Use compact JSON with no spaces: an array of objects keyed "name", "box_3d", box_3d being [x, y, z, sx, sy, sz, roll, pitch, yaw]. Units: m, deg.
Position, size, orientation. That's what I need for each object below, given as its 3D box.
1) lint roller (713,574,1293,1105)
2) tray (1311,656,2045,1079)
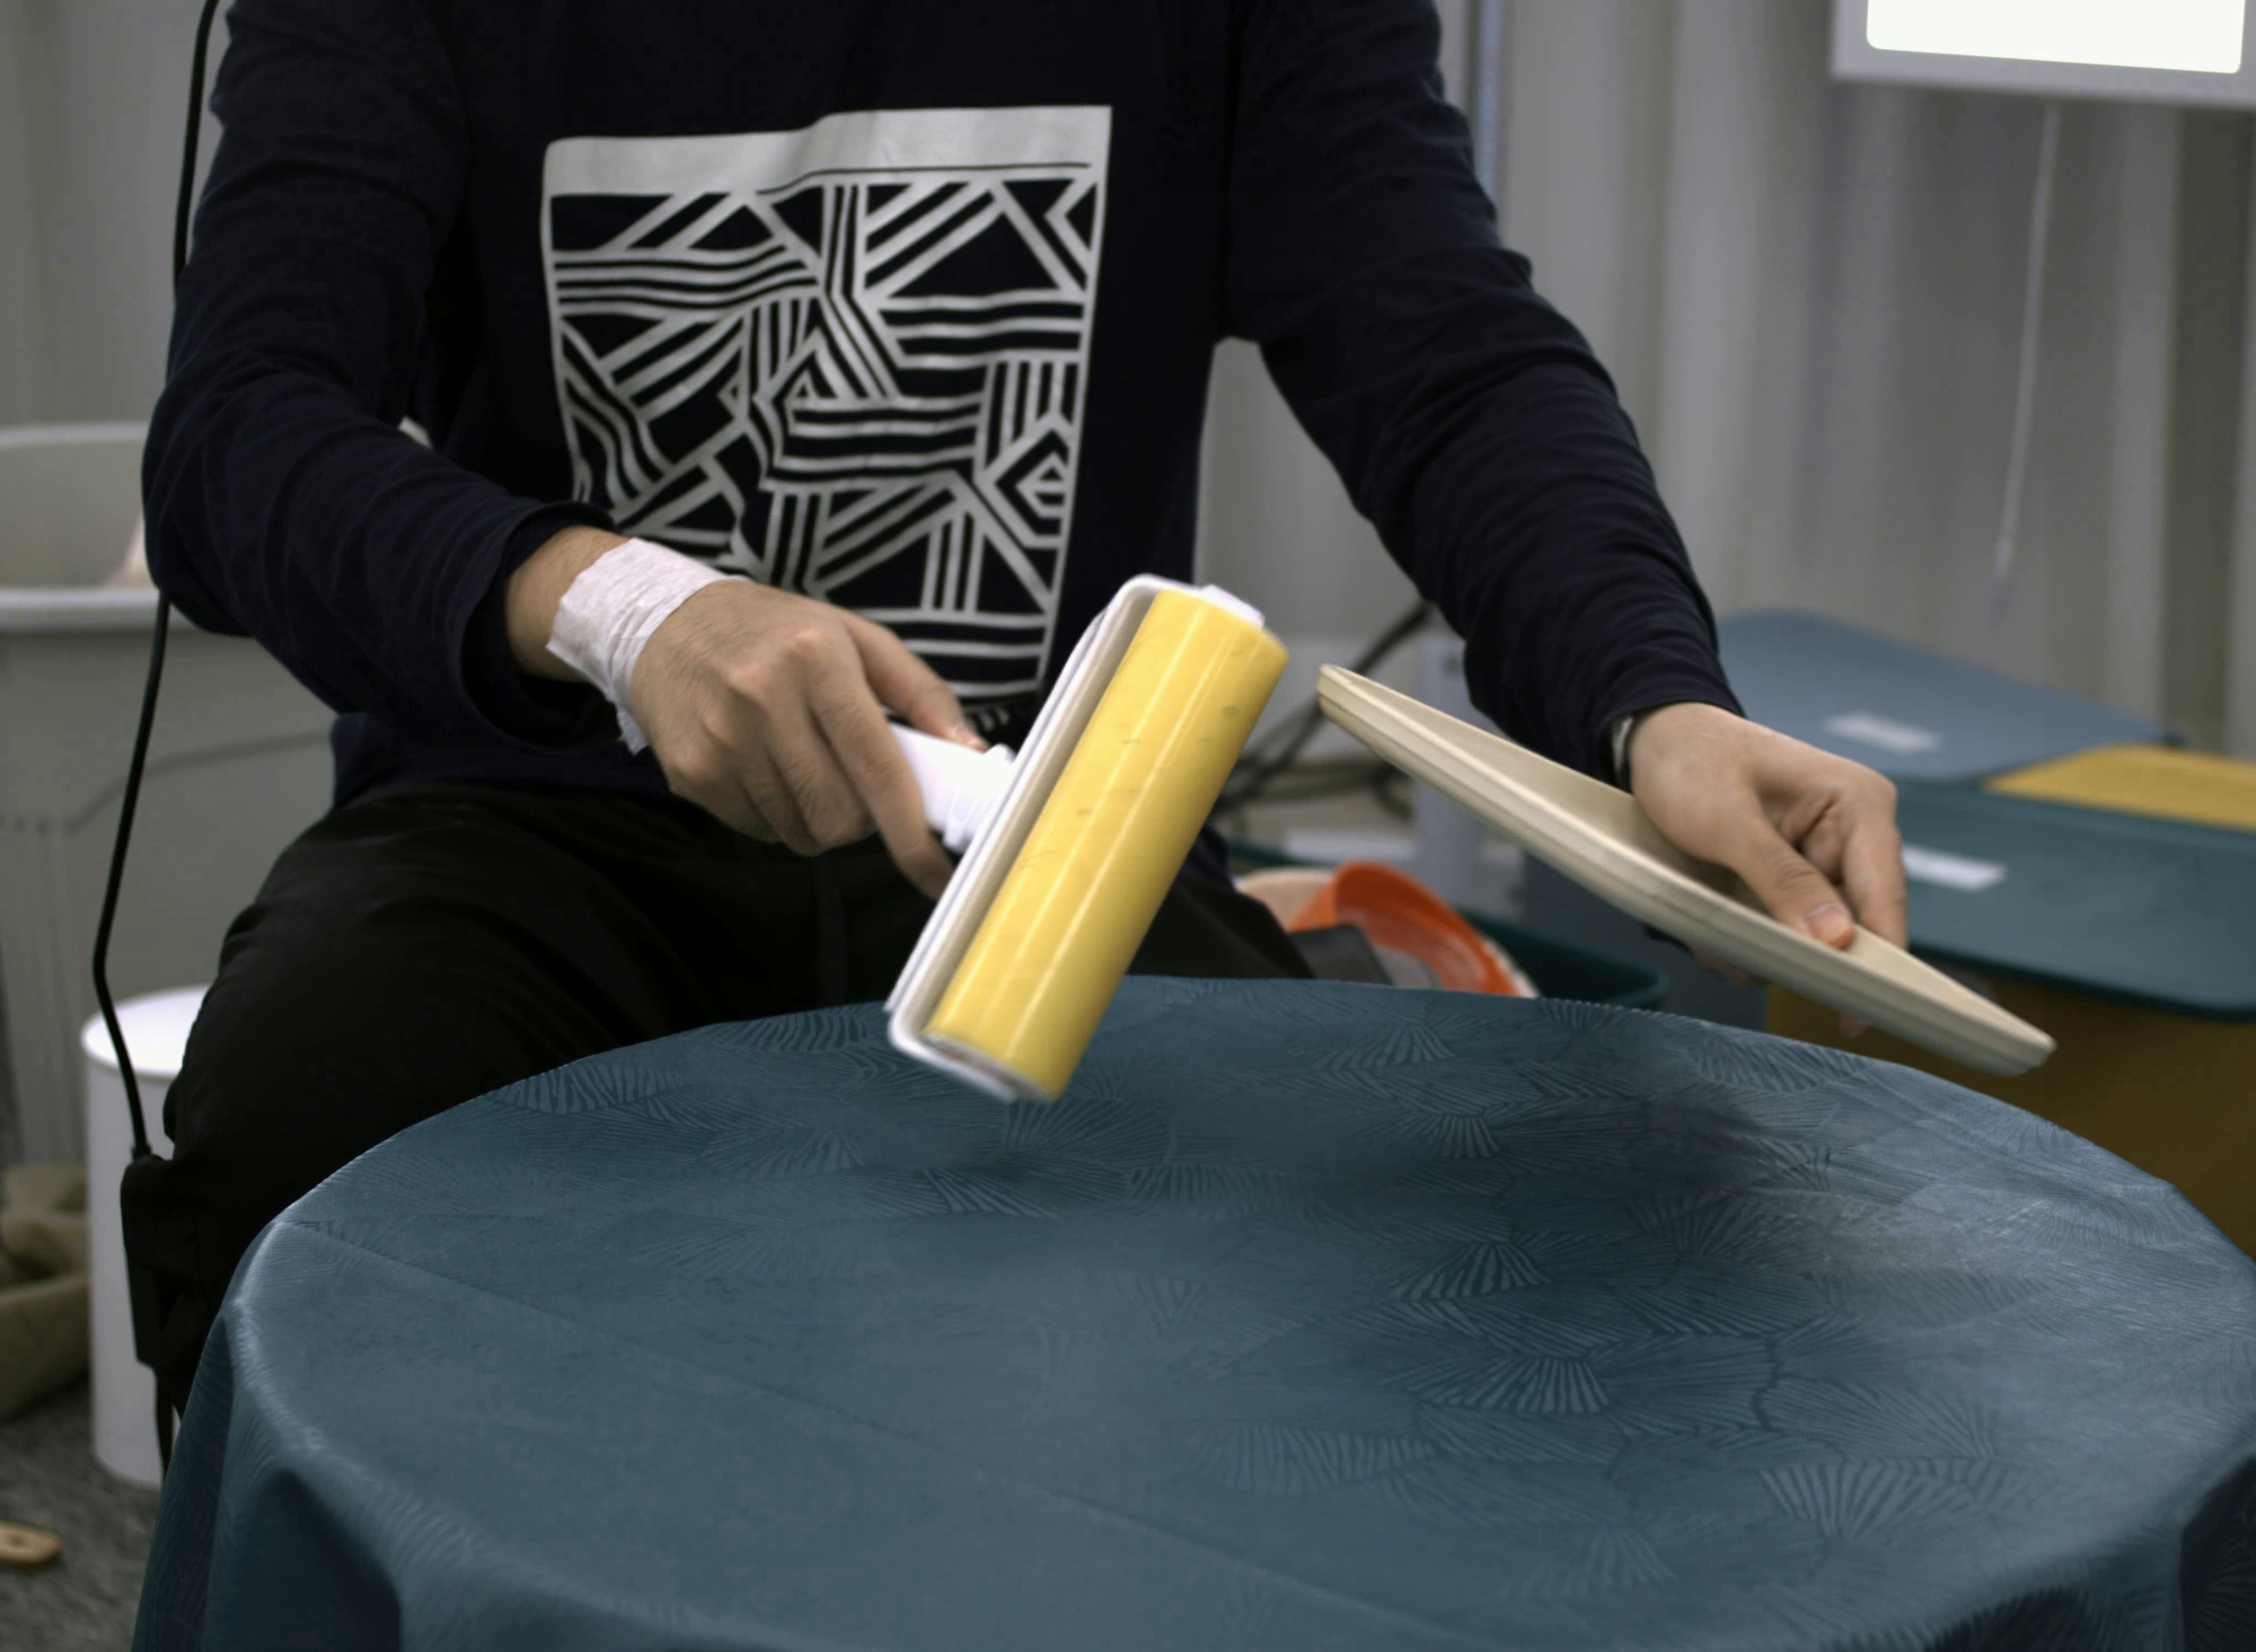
[{"name":"lint roller","box_3d":[-0.062,-0.015,1.680,0.190,0.174,0.052,20,-12,27]},{"name":"tray","box_3d":[0.161,0.013,1.599,0.173,0.017,0.236,24,6,-30]}]
